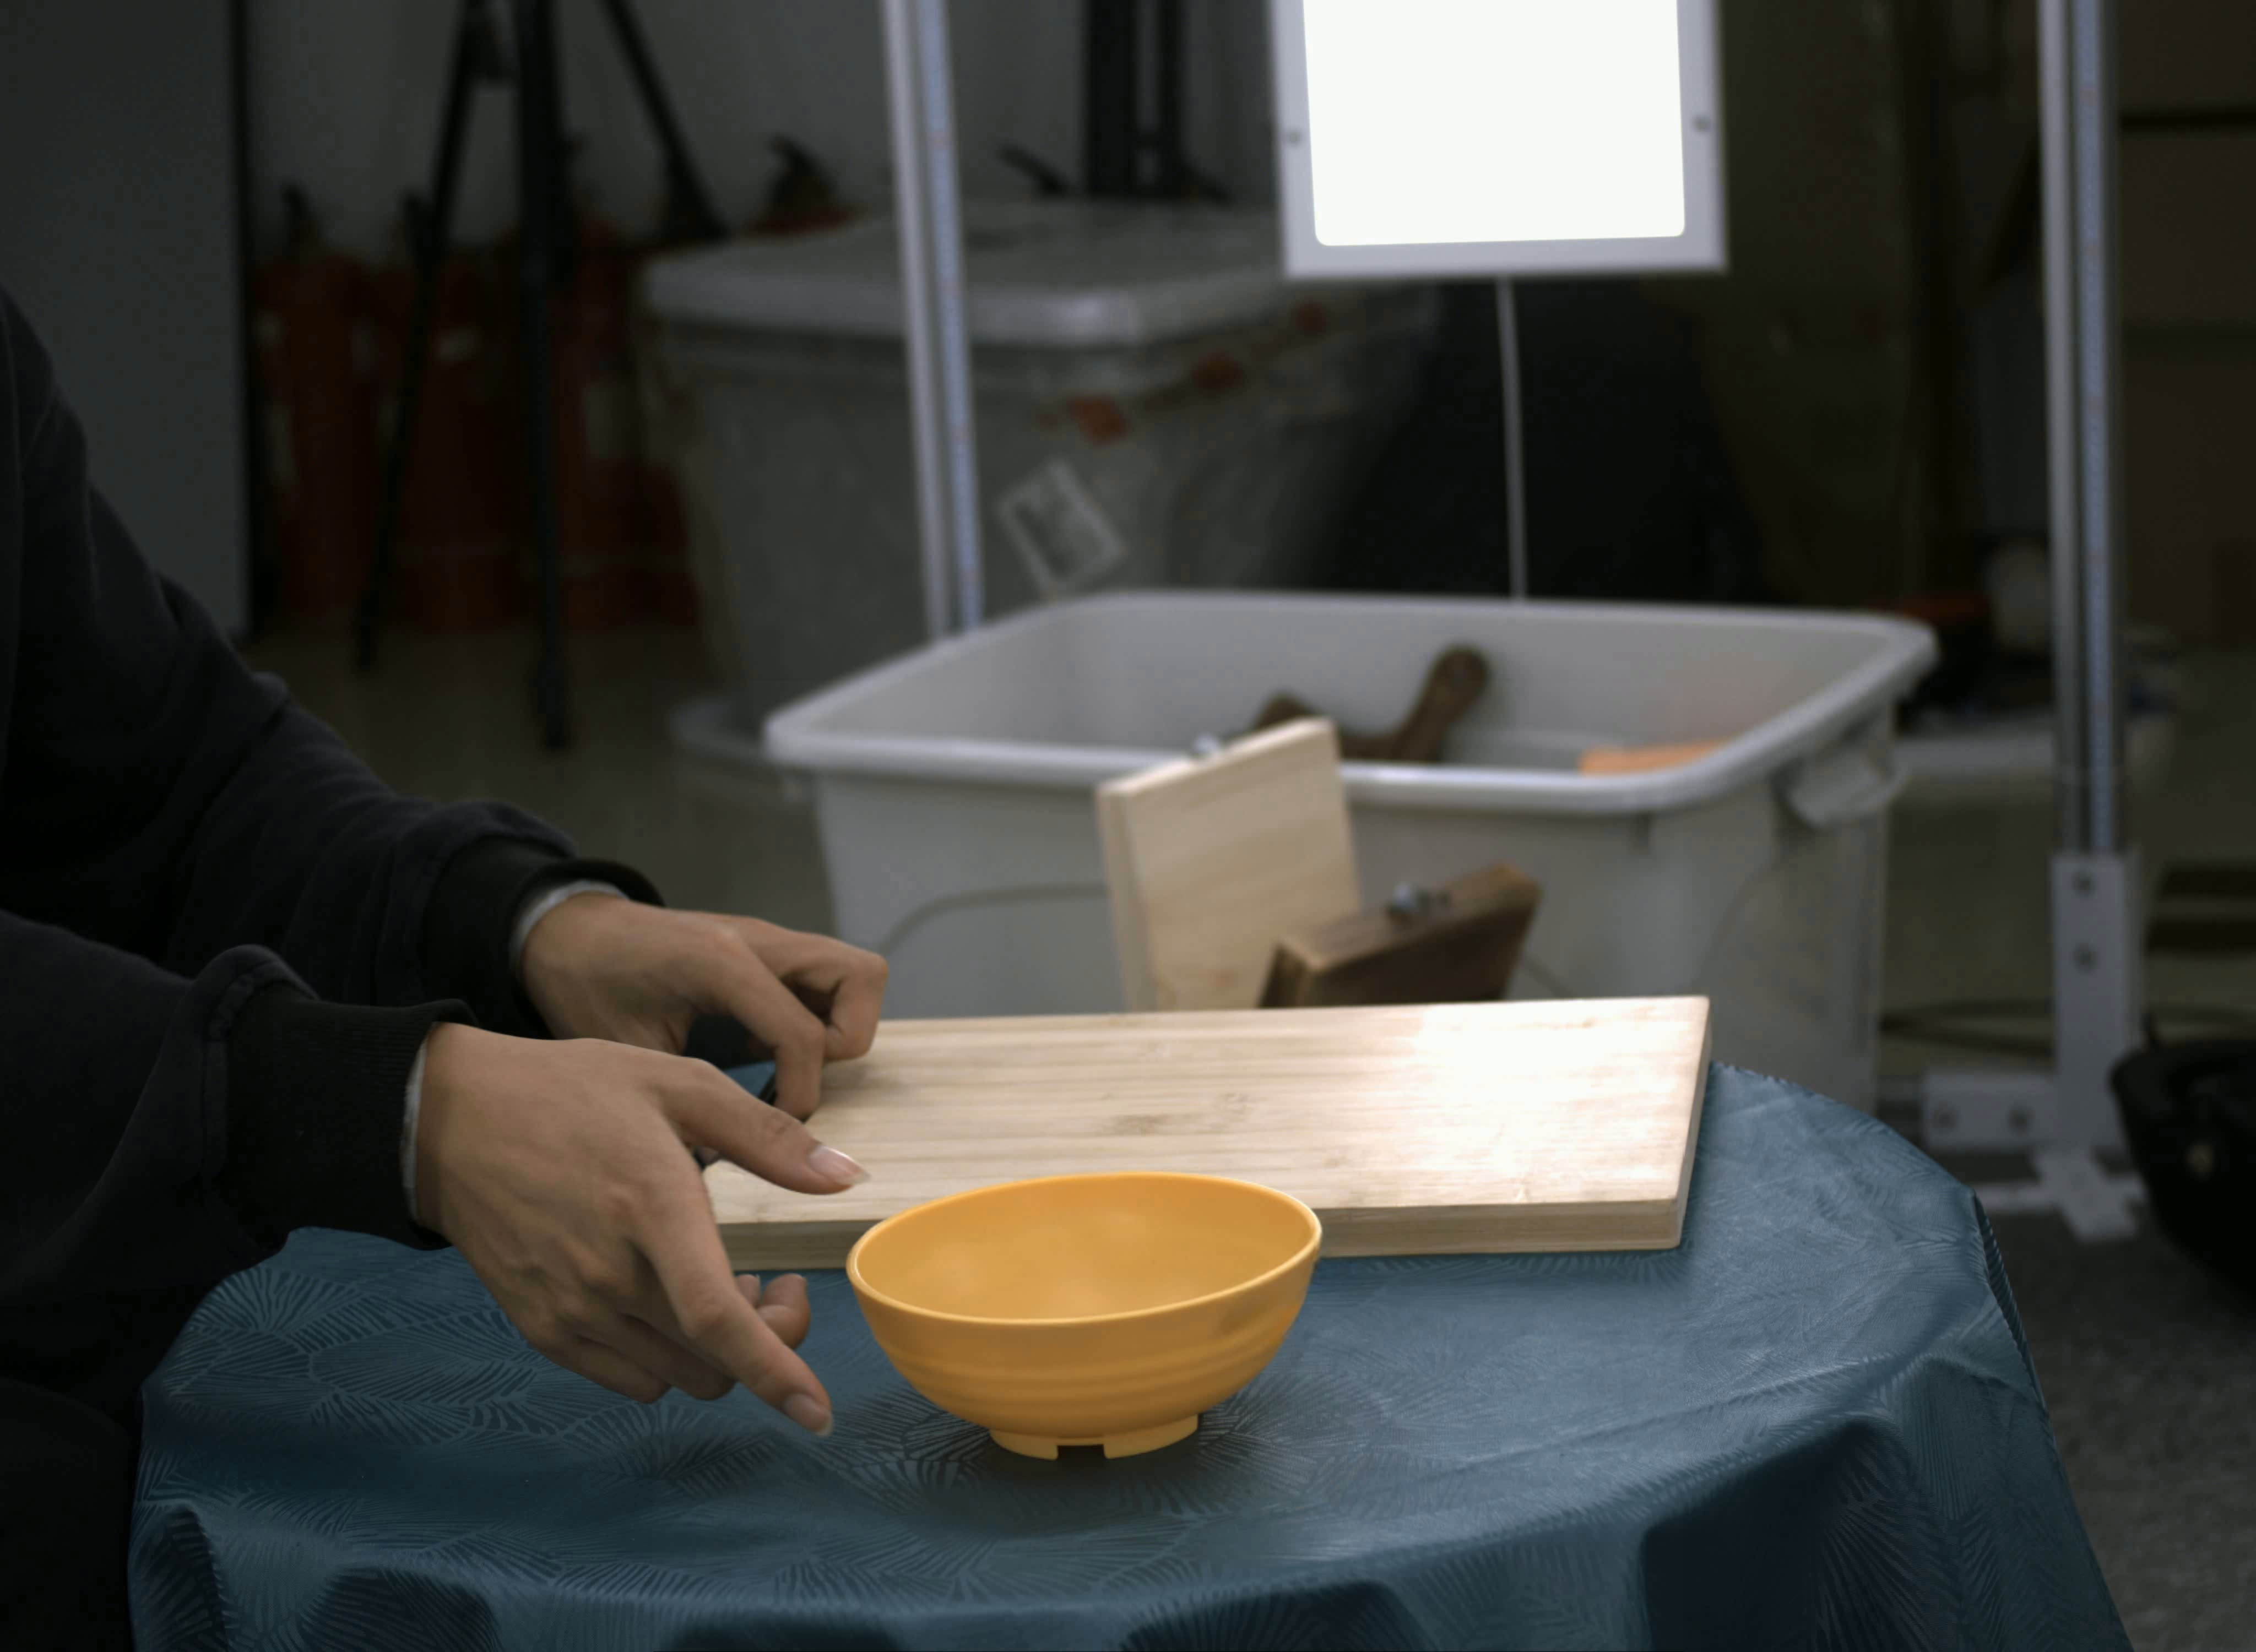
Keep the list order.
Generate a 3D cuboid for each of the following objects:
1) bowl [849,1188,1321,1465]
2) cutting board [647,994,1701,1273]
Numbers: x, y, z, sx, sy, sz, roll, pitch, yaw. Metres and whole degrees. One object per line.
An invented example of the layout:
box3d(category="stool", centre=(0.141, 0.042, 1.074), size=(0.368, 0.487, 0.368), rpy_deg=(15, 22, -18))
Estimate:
box3d(category="bowl", centre=(-0.011, 0.155, 1.667), size=(0.145, 0.060, 0.145), rpy_deg=(-5, 11, 0))
box3d(category="cutting board", centre=(0.025, 0.107, 1.935), size=(0.350, 0.023, 0.248), rpy_deg=(-3, 14, 10))
